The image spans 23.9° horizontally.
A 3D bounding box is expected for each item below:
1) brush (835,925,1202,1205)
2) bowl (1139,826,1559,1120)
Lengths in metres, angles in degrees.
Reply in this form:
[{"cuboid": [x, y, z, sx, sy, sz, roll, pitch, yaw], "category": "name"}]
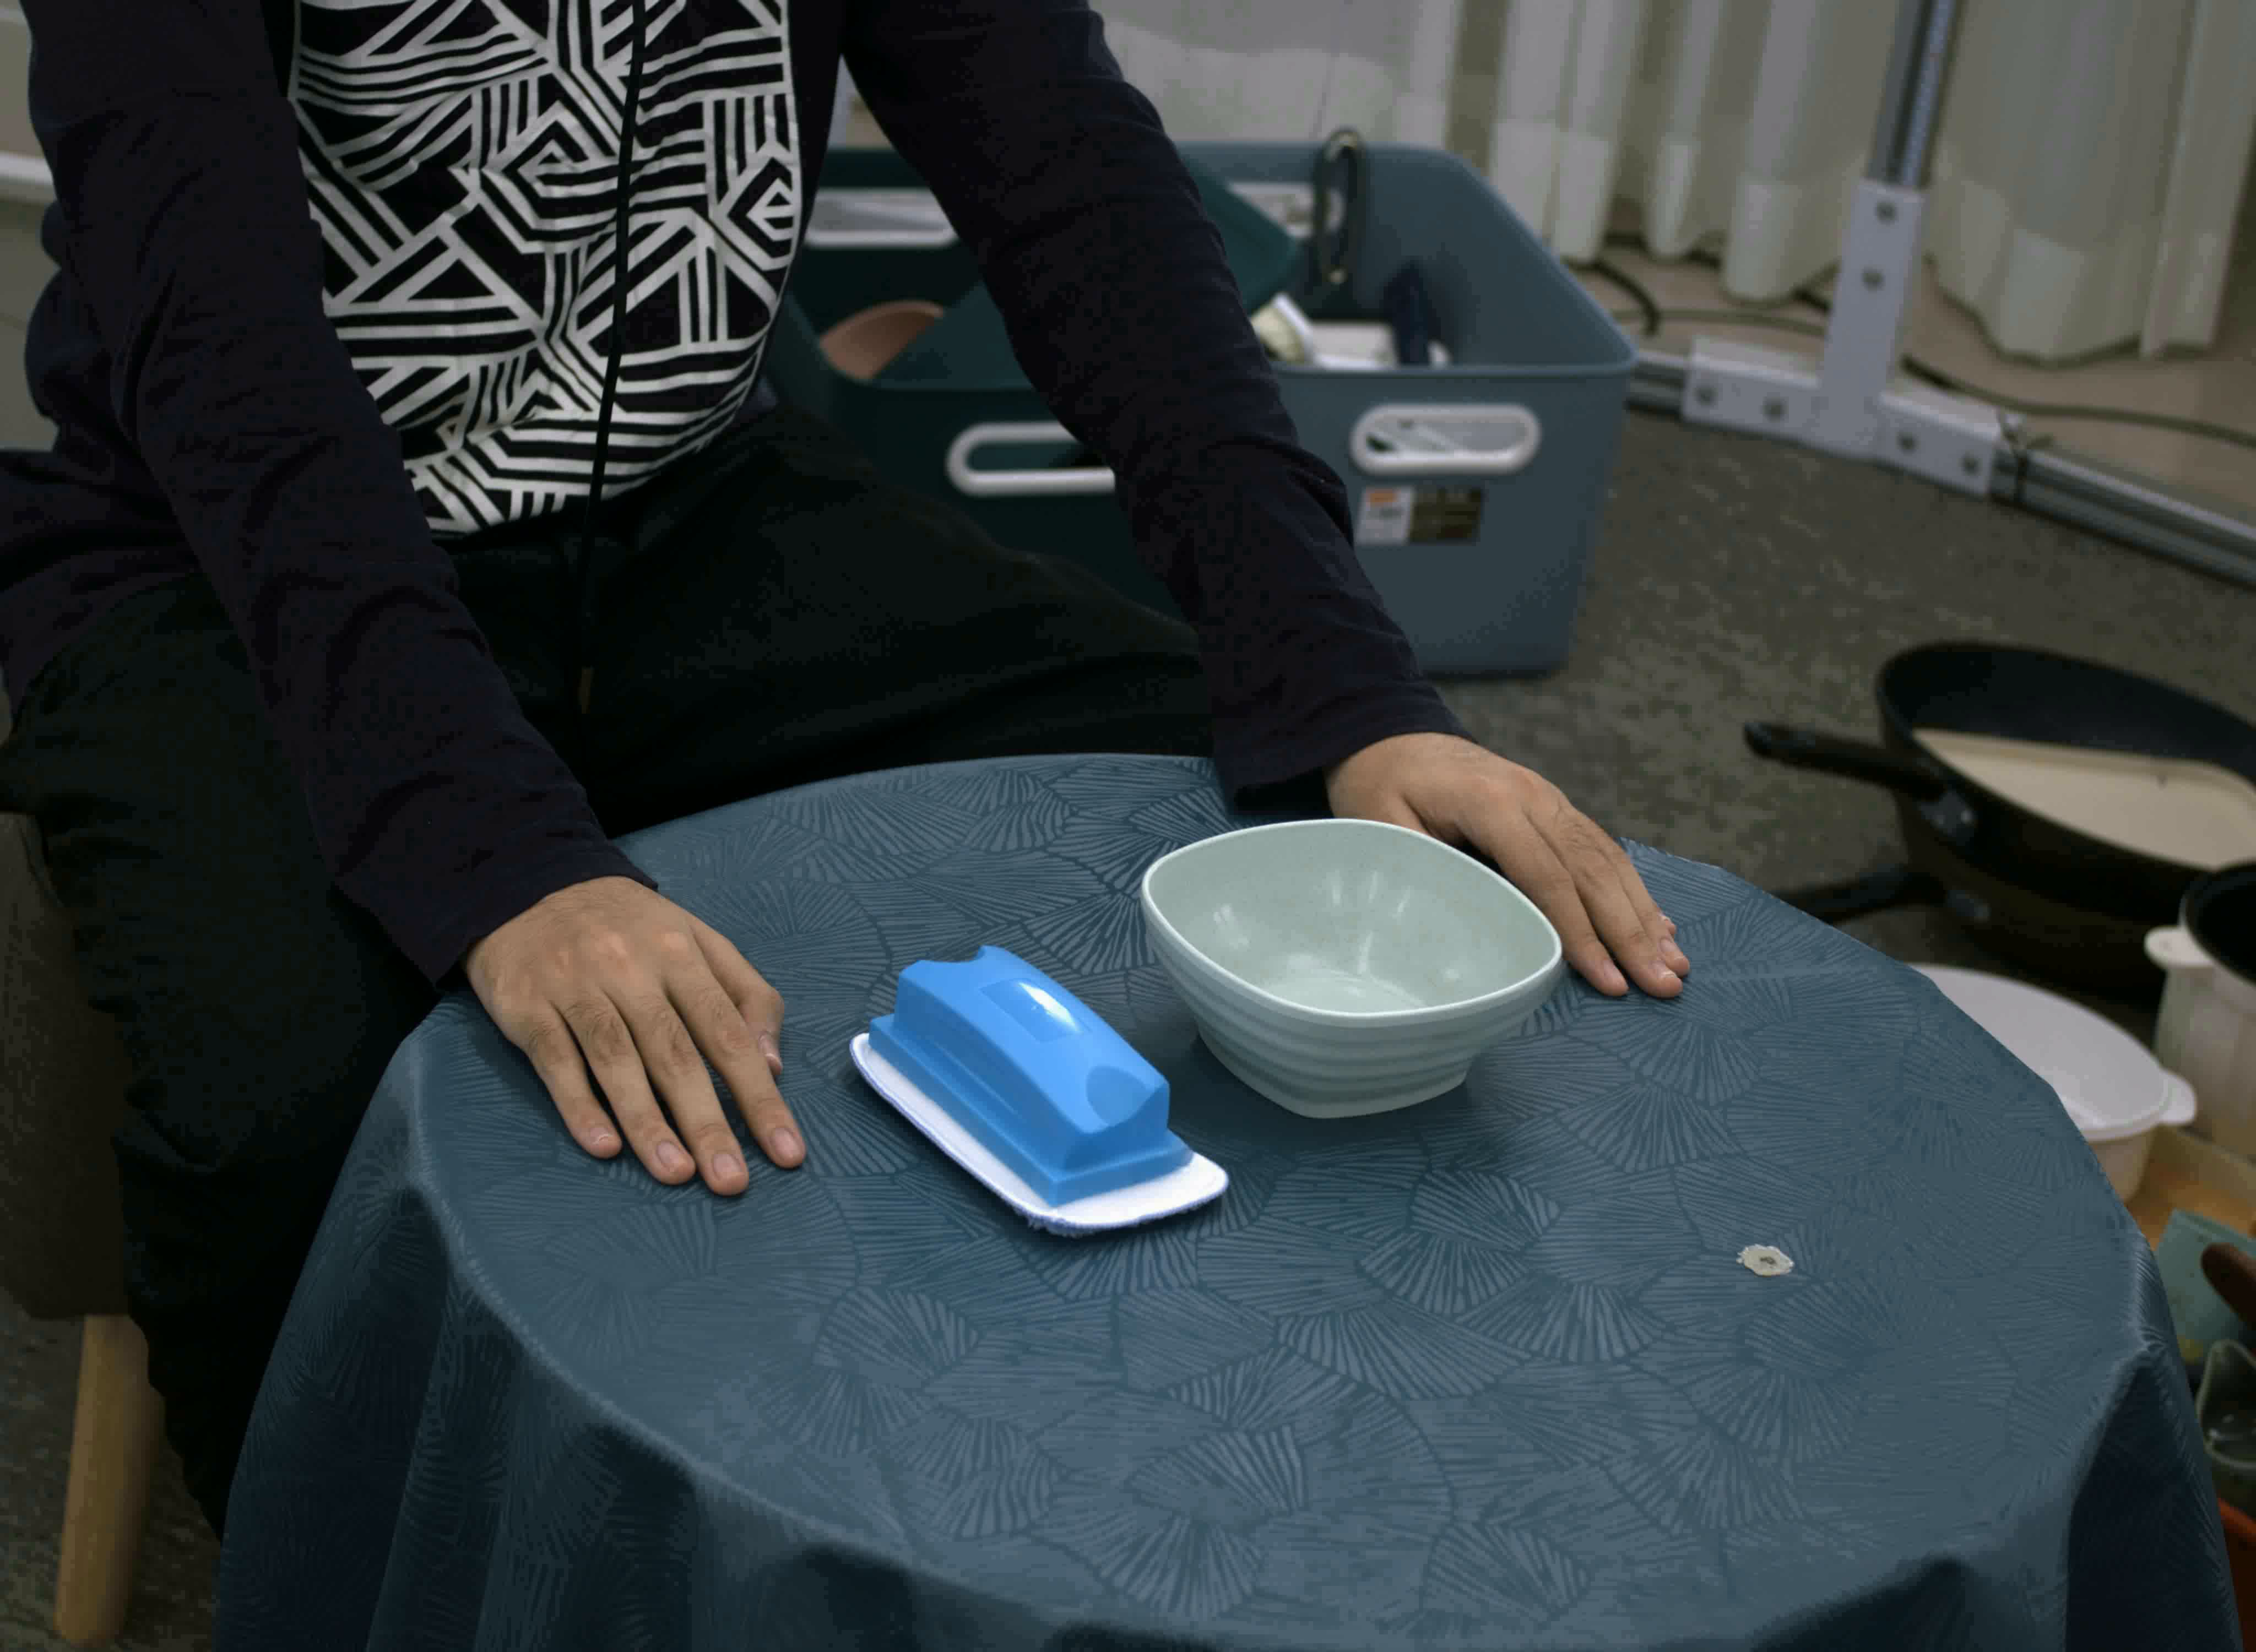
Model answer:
[{"cuboid": [-0.035, 0.078, 1.822, 0.083, 0.056, 0.145, -6, 31, -32], "category": "brush"}, {"cuboid": [0.075, 0.058, 1.893, 0.151, 0.058, 0.152, 7, 25, -4], "category": "bowl"}]
